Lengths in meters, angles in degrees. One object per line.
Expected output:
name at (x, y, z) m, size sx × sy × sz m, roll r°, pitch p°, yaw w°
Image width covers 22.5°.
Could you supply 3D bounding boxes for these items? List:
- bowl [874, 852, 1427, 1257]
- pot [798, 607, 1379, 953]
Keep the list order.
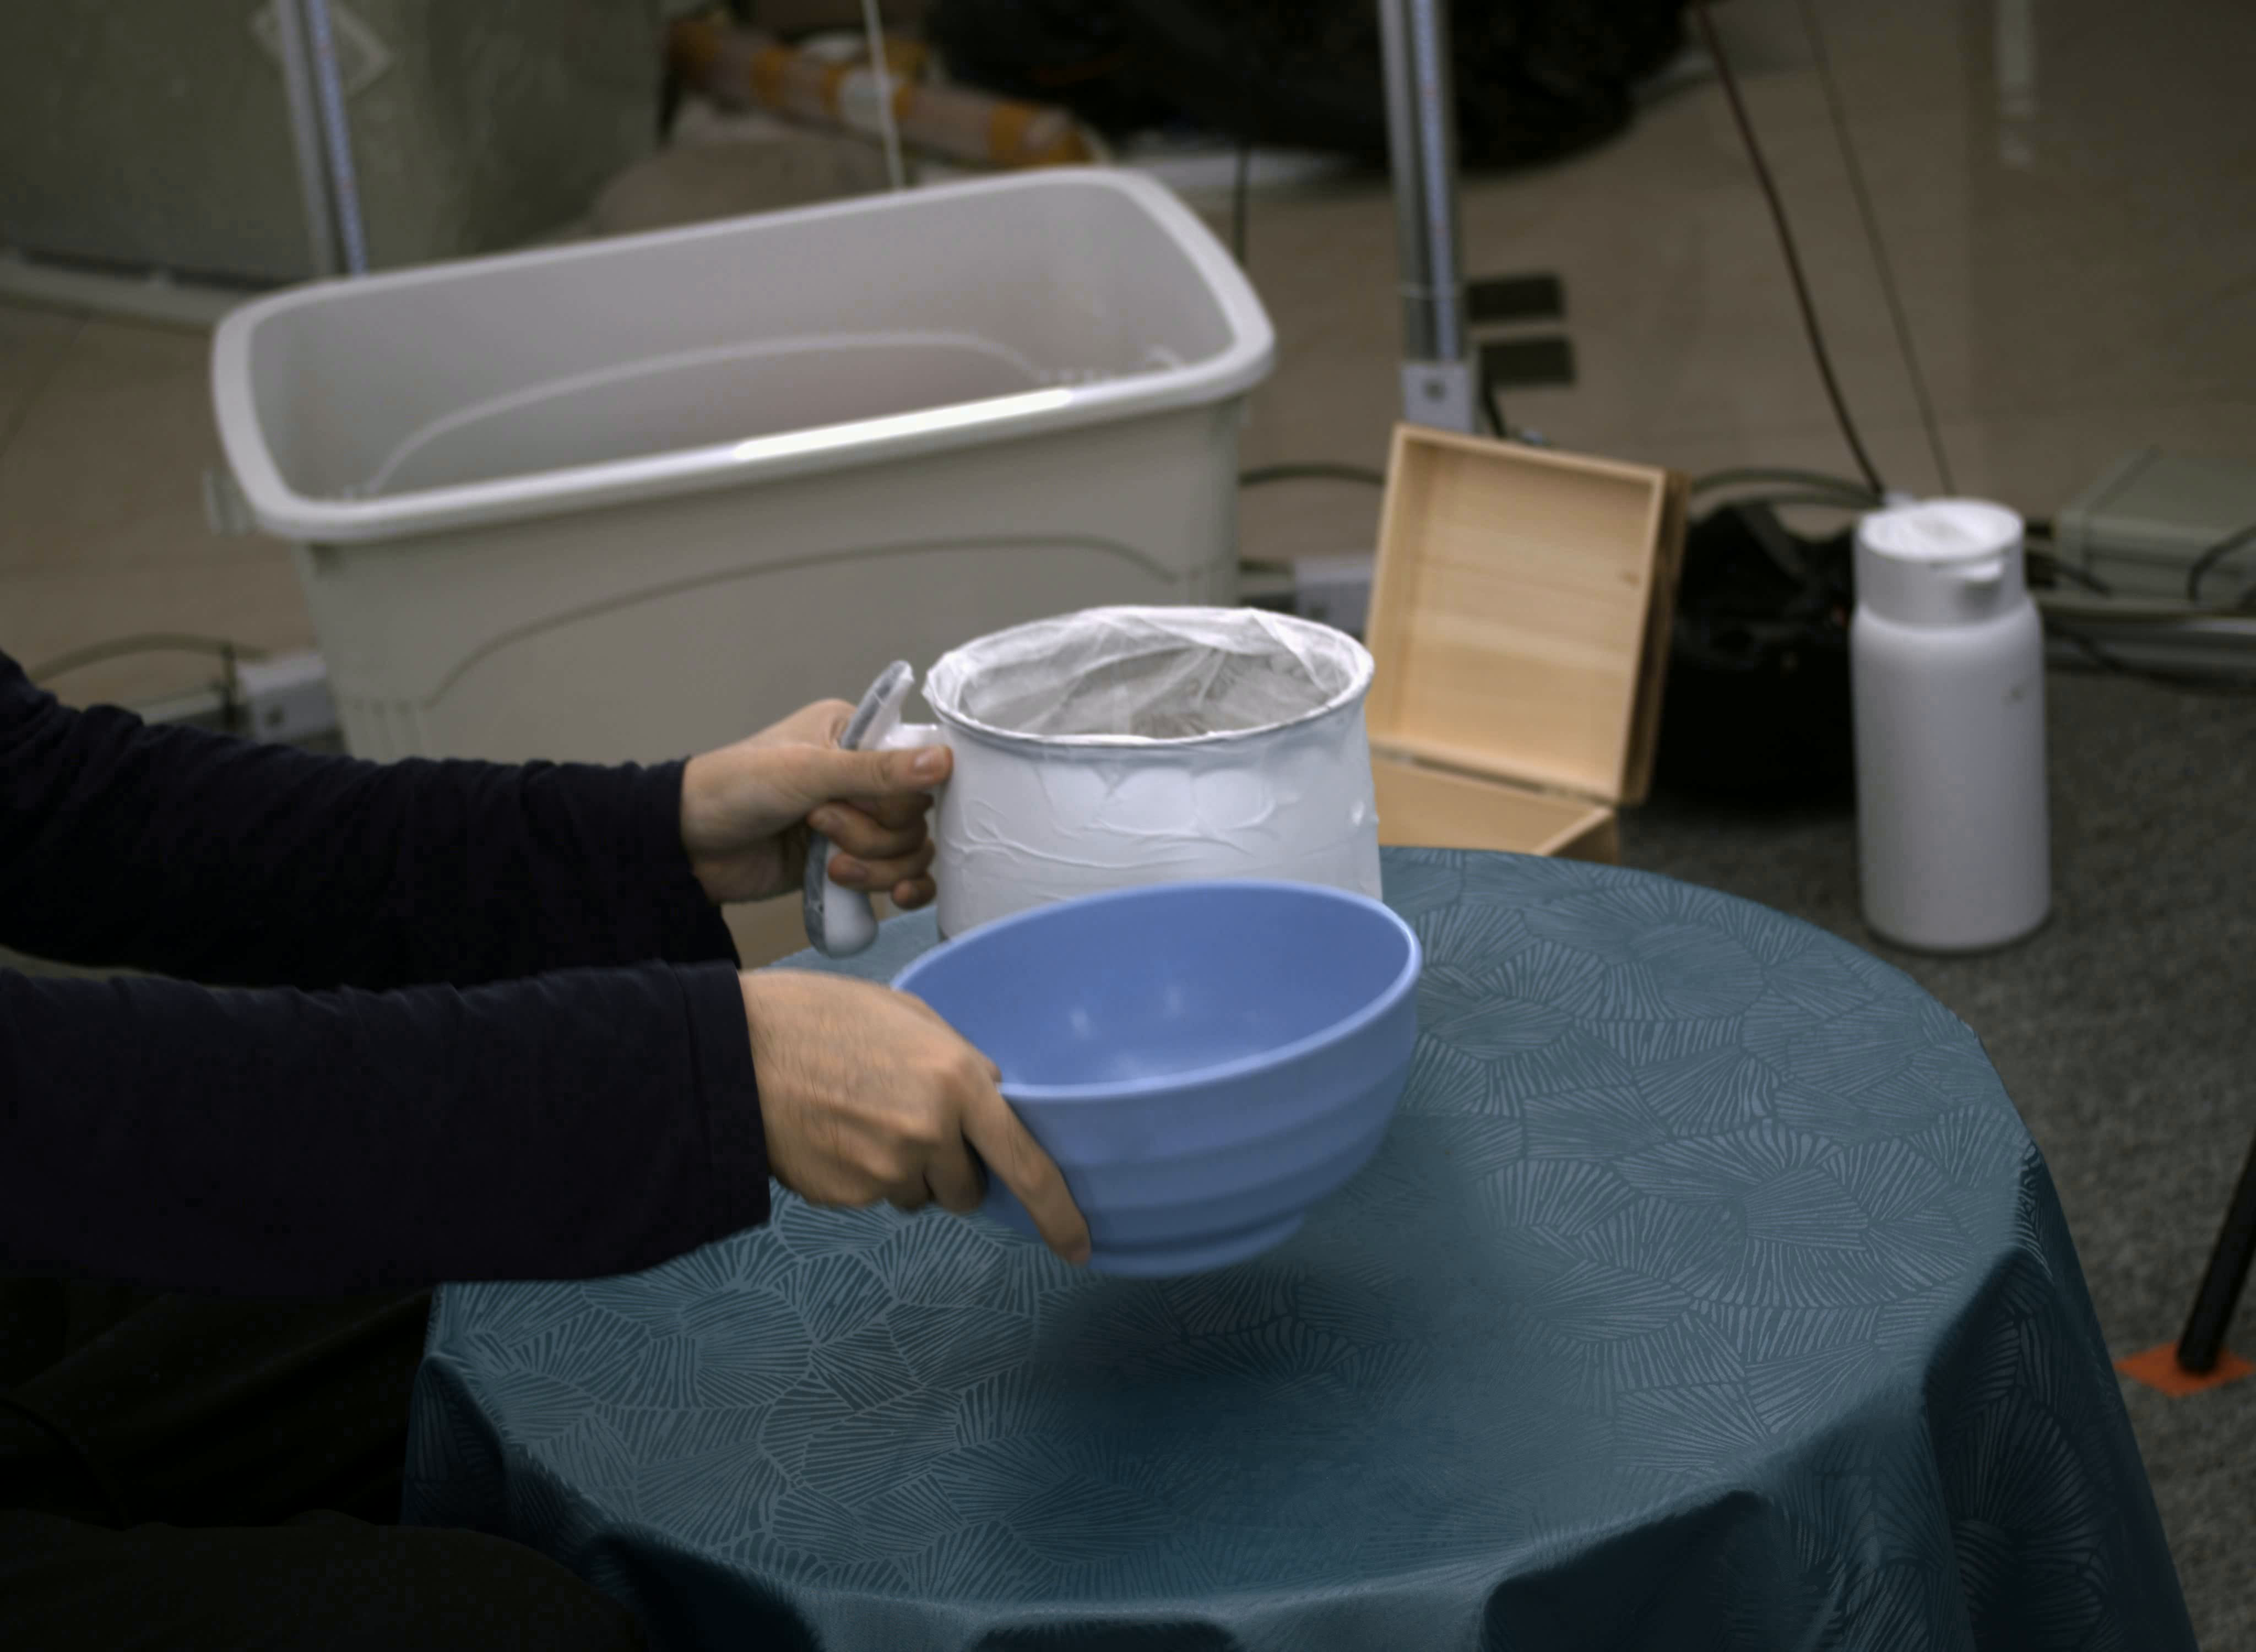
bowl at (0.011, 0.091, 2.017) m, size 0.196 × 0.097 × 0.194 m, roll -4°, pitch 24°, yaw 2°
pot at (-0.017, -0.002, 2.236) m, size 0.233 × 0.138 × 0.177 m, roll 0°, pitch 18°, yaw 7°
